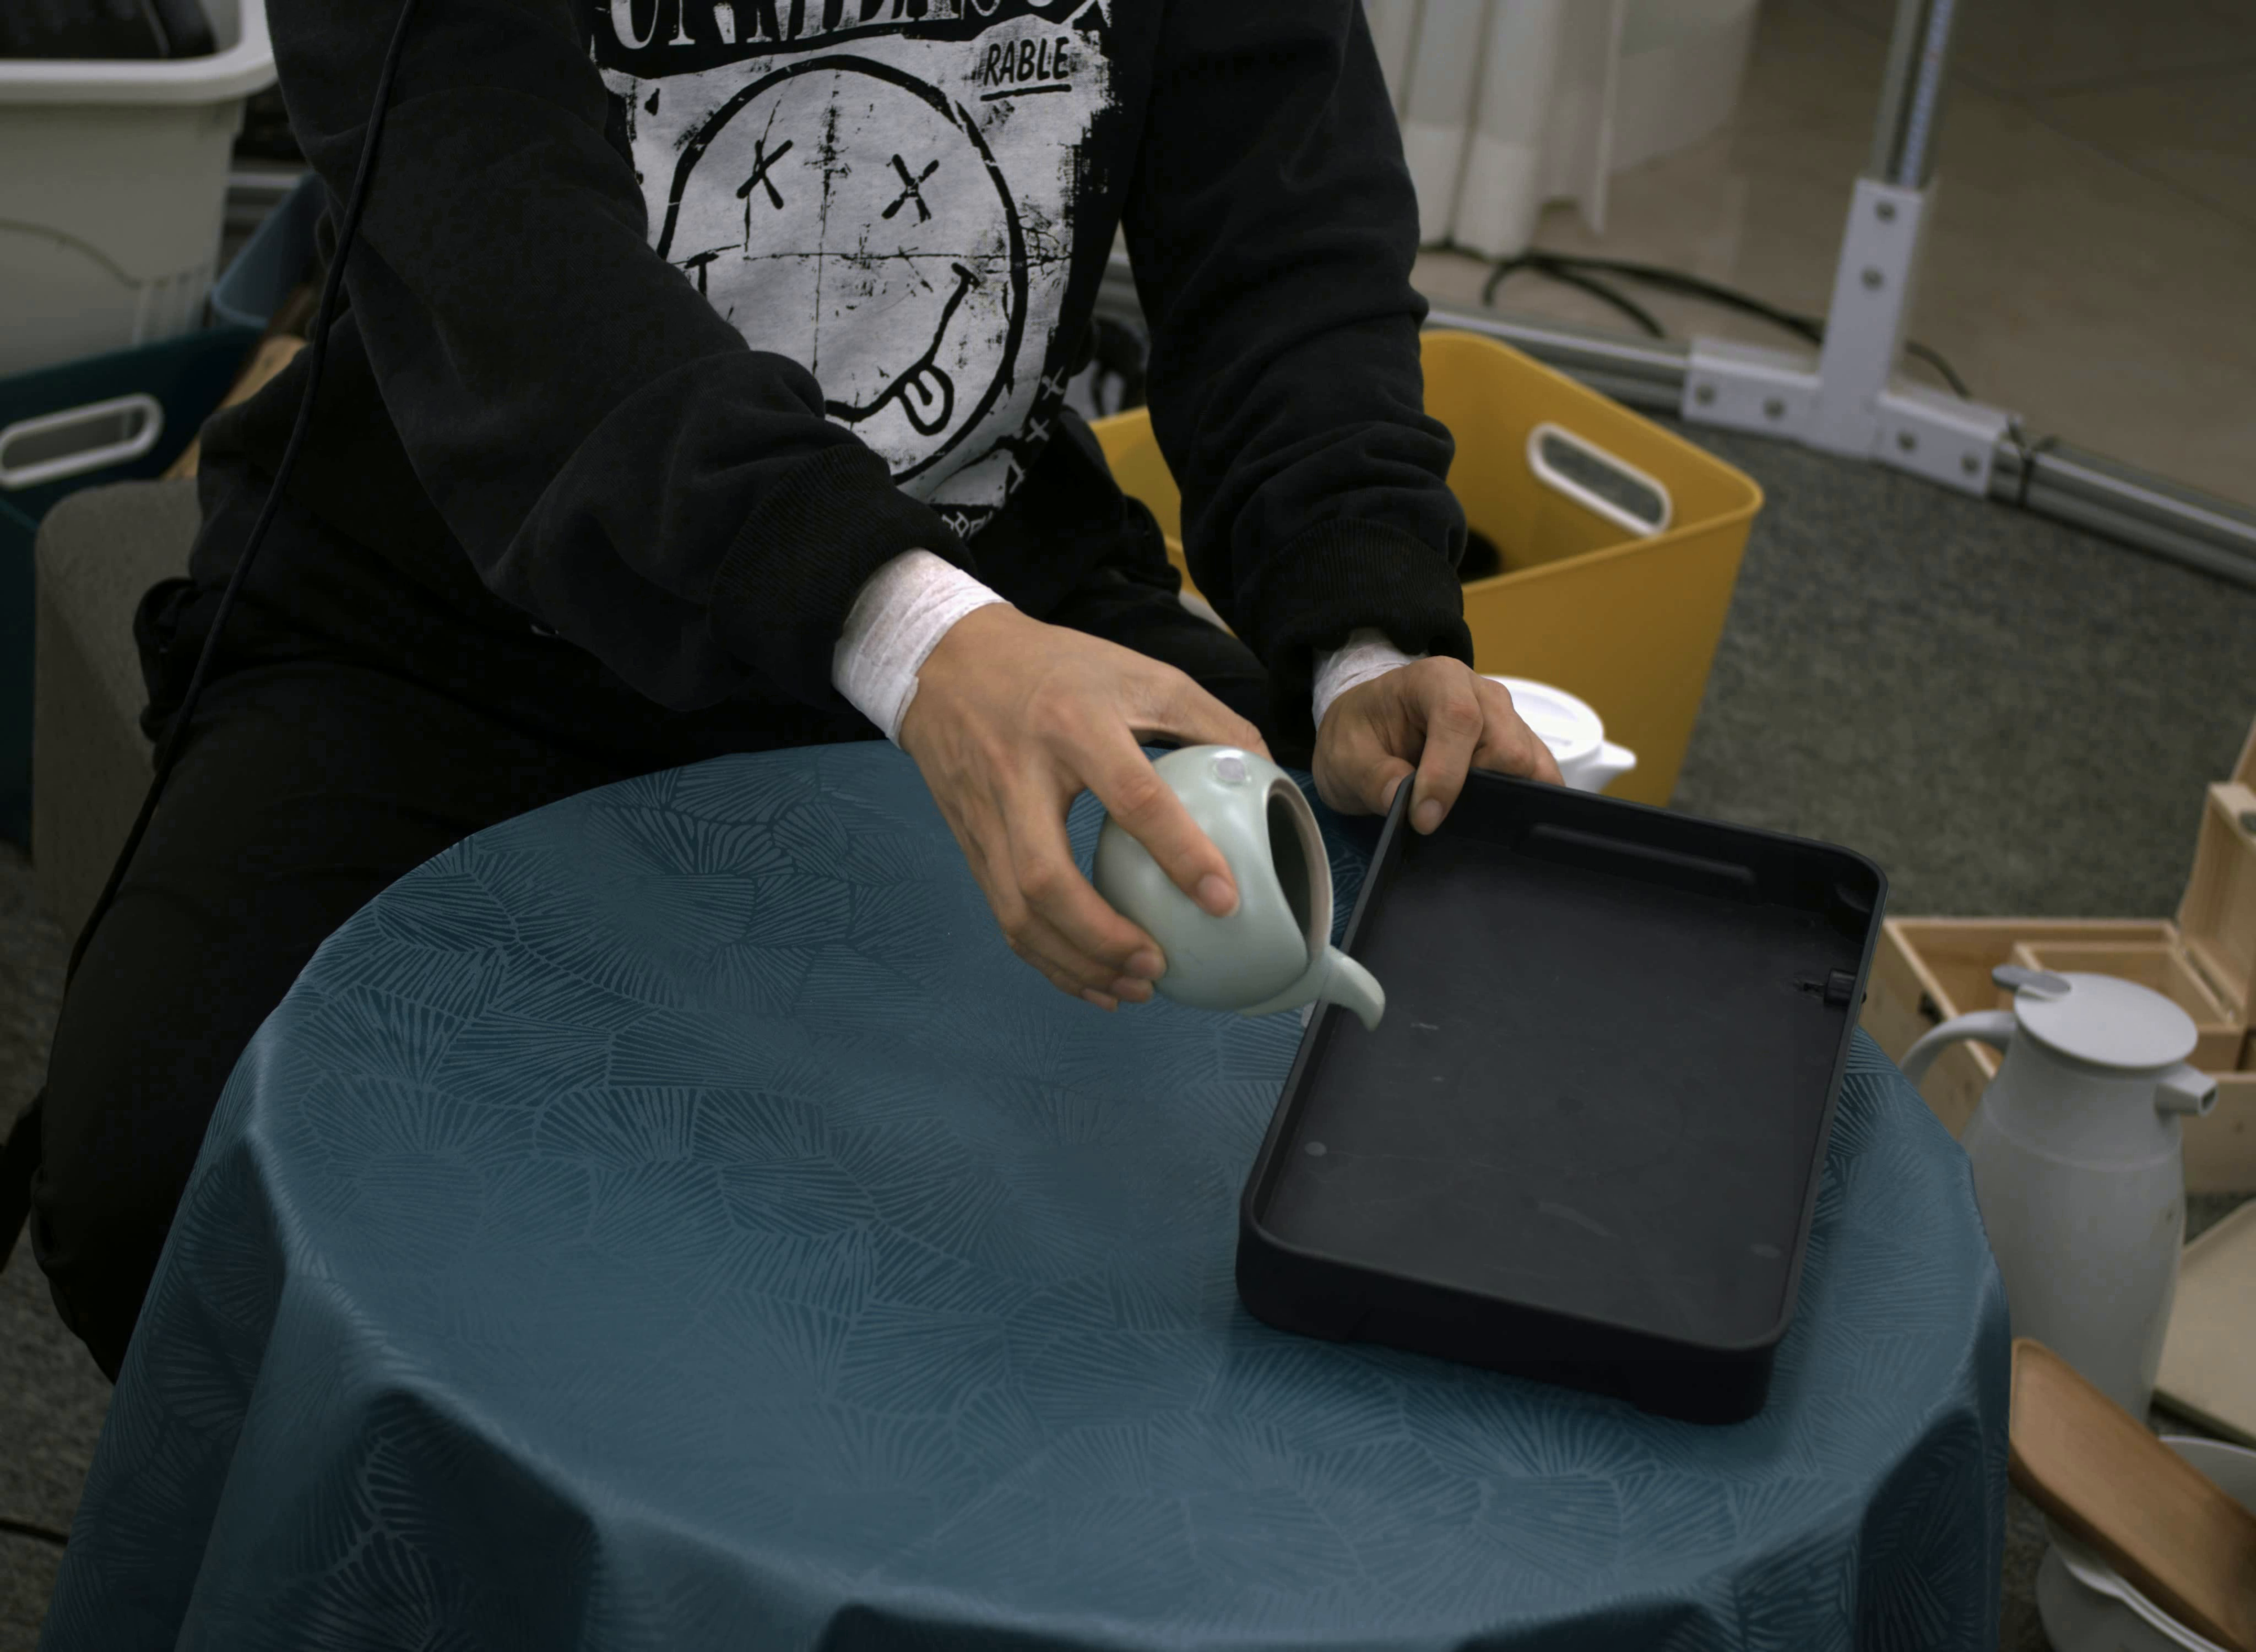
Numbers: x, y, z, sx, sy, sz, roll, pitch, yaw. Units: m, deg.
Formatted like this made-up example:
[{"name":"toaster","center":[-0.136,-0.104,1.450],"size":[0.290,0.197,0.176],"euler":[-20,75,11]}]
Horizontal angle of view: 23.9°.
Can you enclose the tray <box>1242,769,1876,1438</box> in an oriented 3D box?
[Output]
[{"name":"tray","center":[0.153,0.088,1.837],"size":[0.184,0.037,0.319],"euler":[12,33,7]}]

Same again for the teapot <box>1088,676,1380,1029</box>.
[{"name":"teapot","center":[0.028,0.015,1.753],"size":[0.075,0.143,0.089],"euler":[-13,28,19]}]
